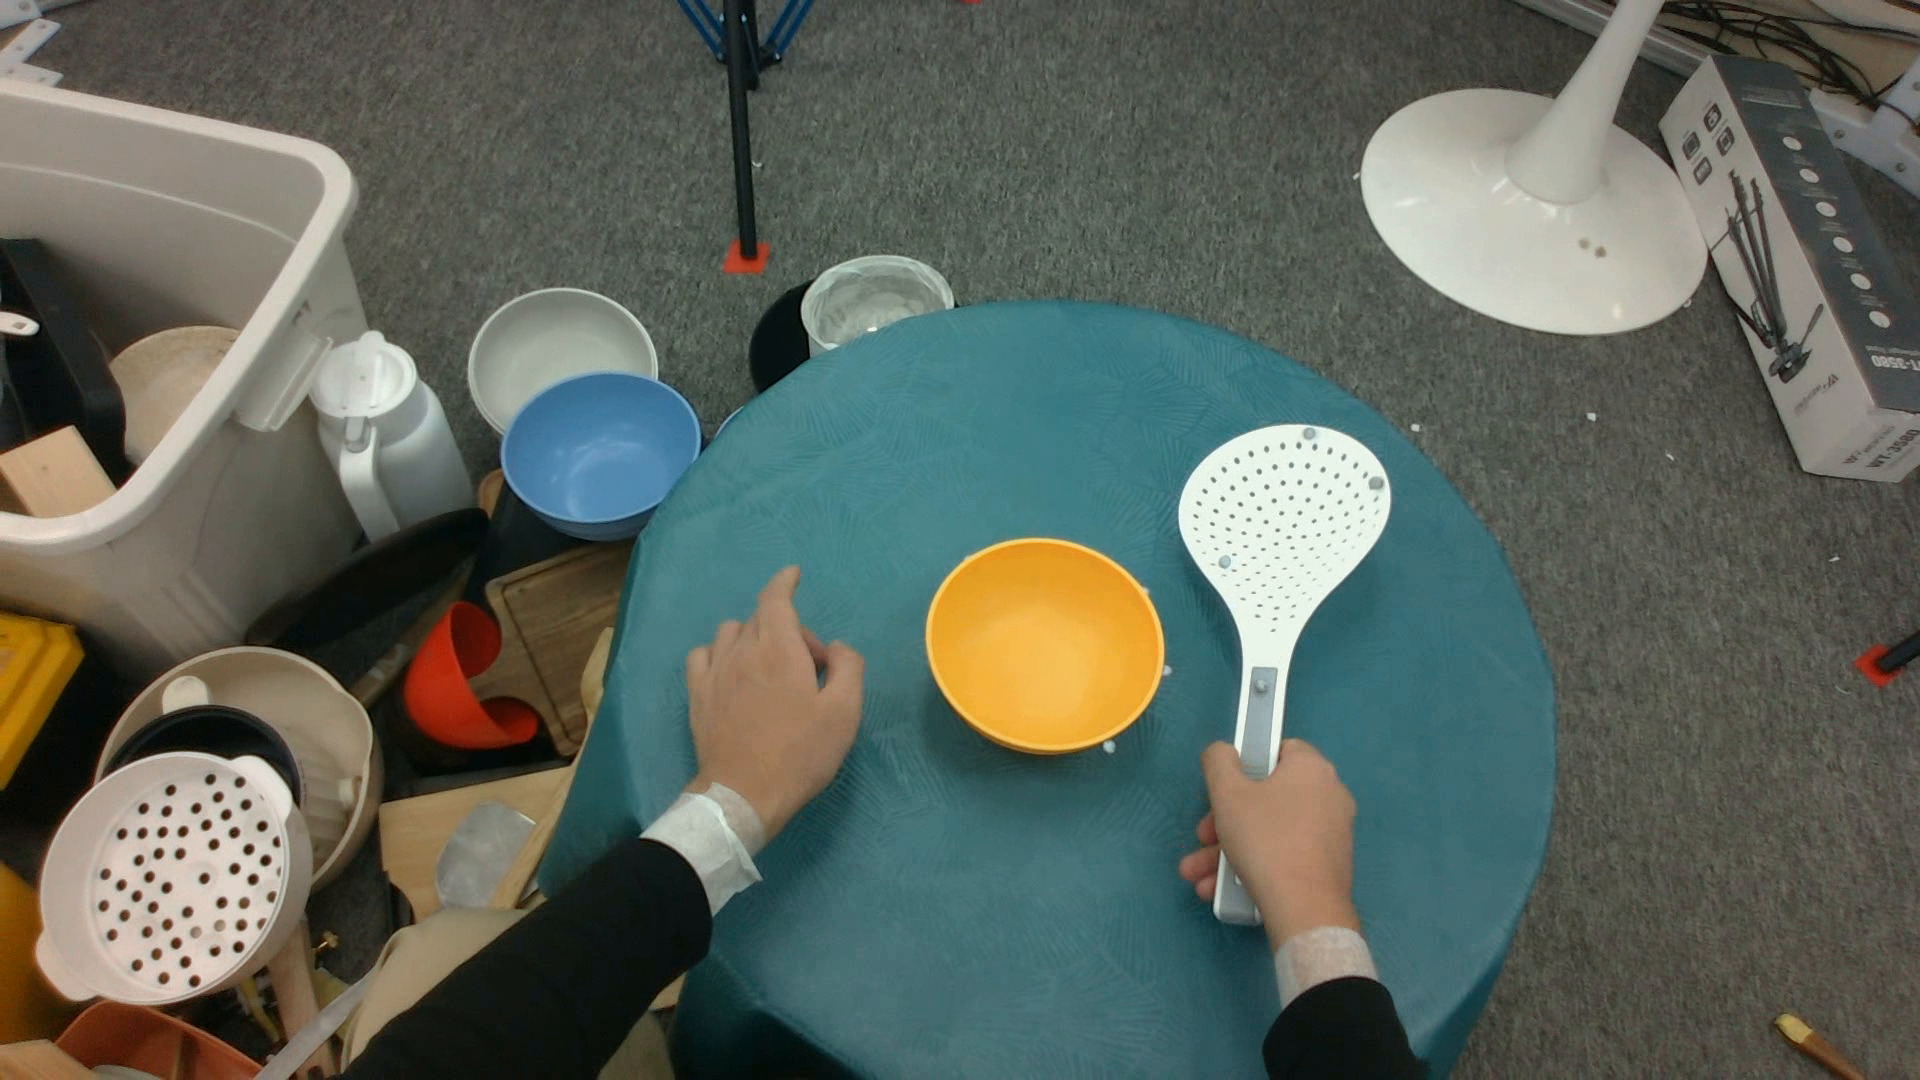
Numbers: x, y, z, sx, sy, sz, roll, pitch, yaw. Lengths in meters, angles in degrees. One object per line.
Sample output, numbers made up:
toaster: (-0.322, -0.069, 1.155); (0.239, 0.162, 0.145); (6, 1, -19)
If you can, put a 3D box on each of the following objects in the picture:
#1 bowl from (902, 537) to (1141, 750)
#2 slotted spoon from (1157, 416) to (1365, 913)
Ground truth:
bowl: (0.035, 0.072, 0.845); (0.145, 0.060, 0.146); (2, 55, -3)
slotted spoon: (0.178, 0.062, 0.855); (0.136, 0.045, 0.351); (0, 49, 20)
